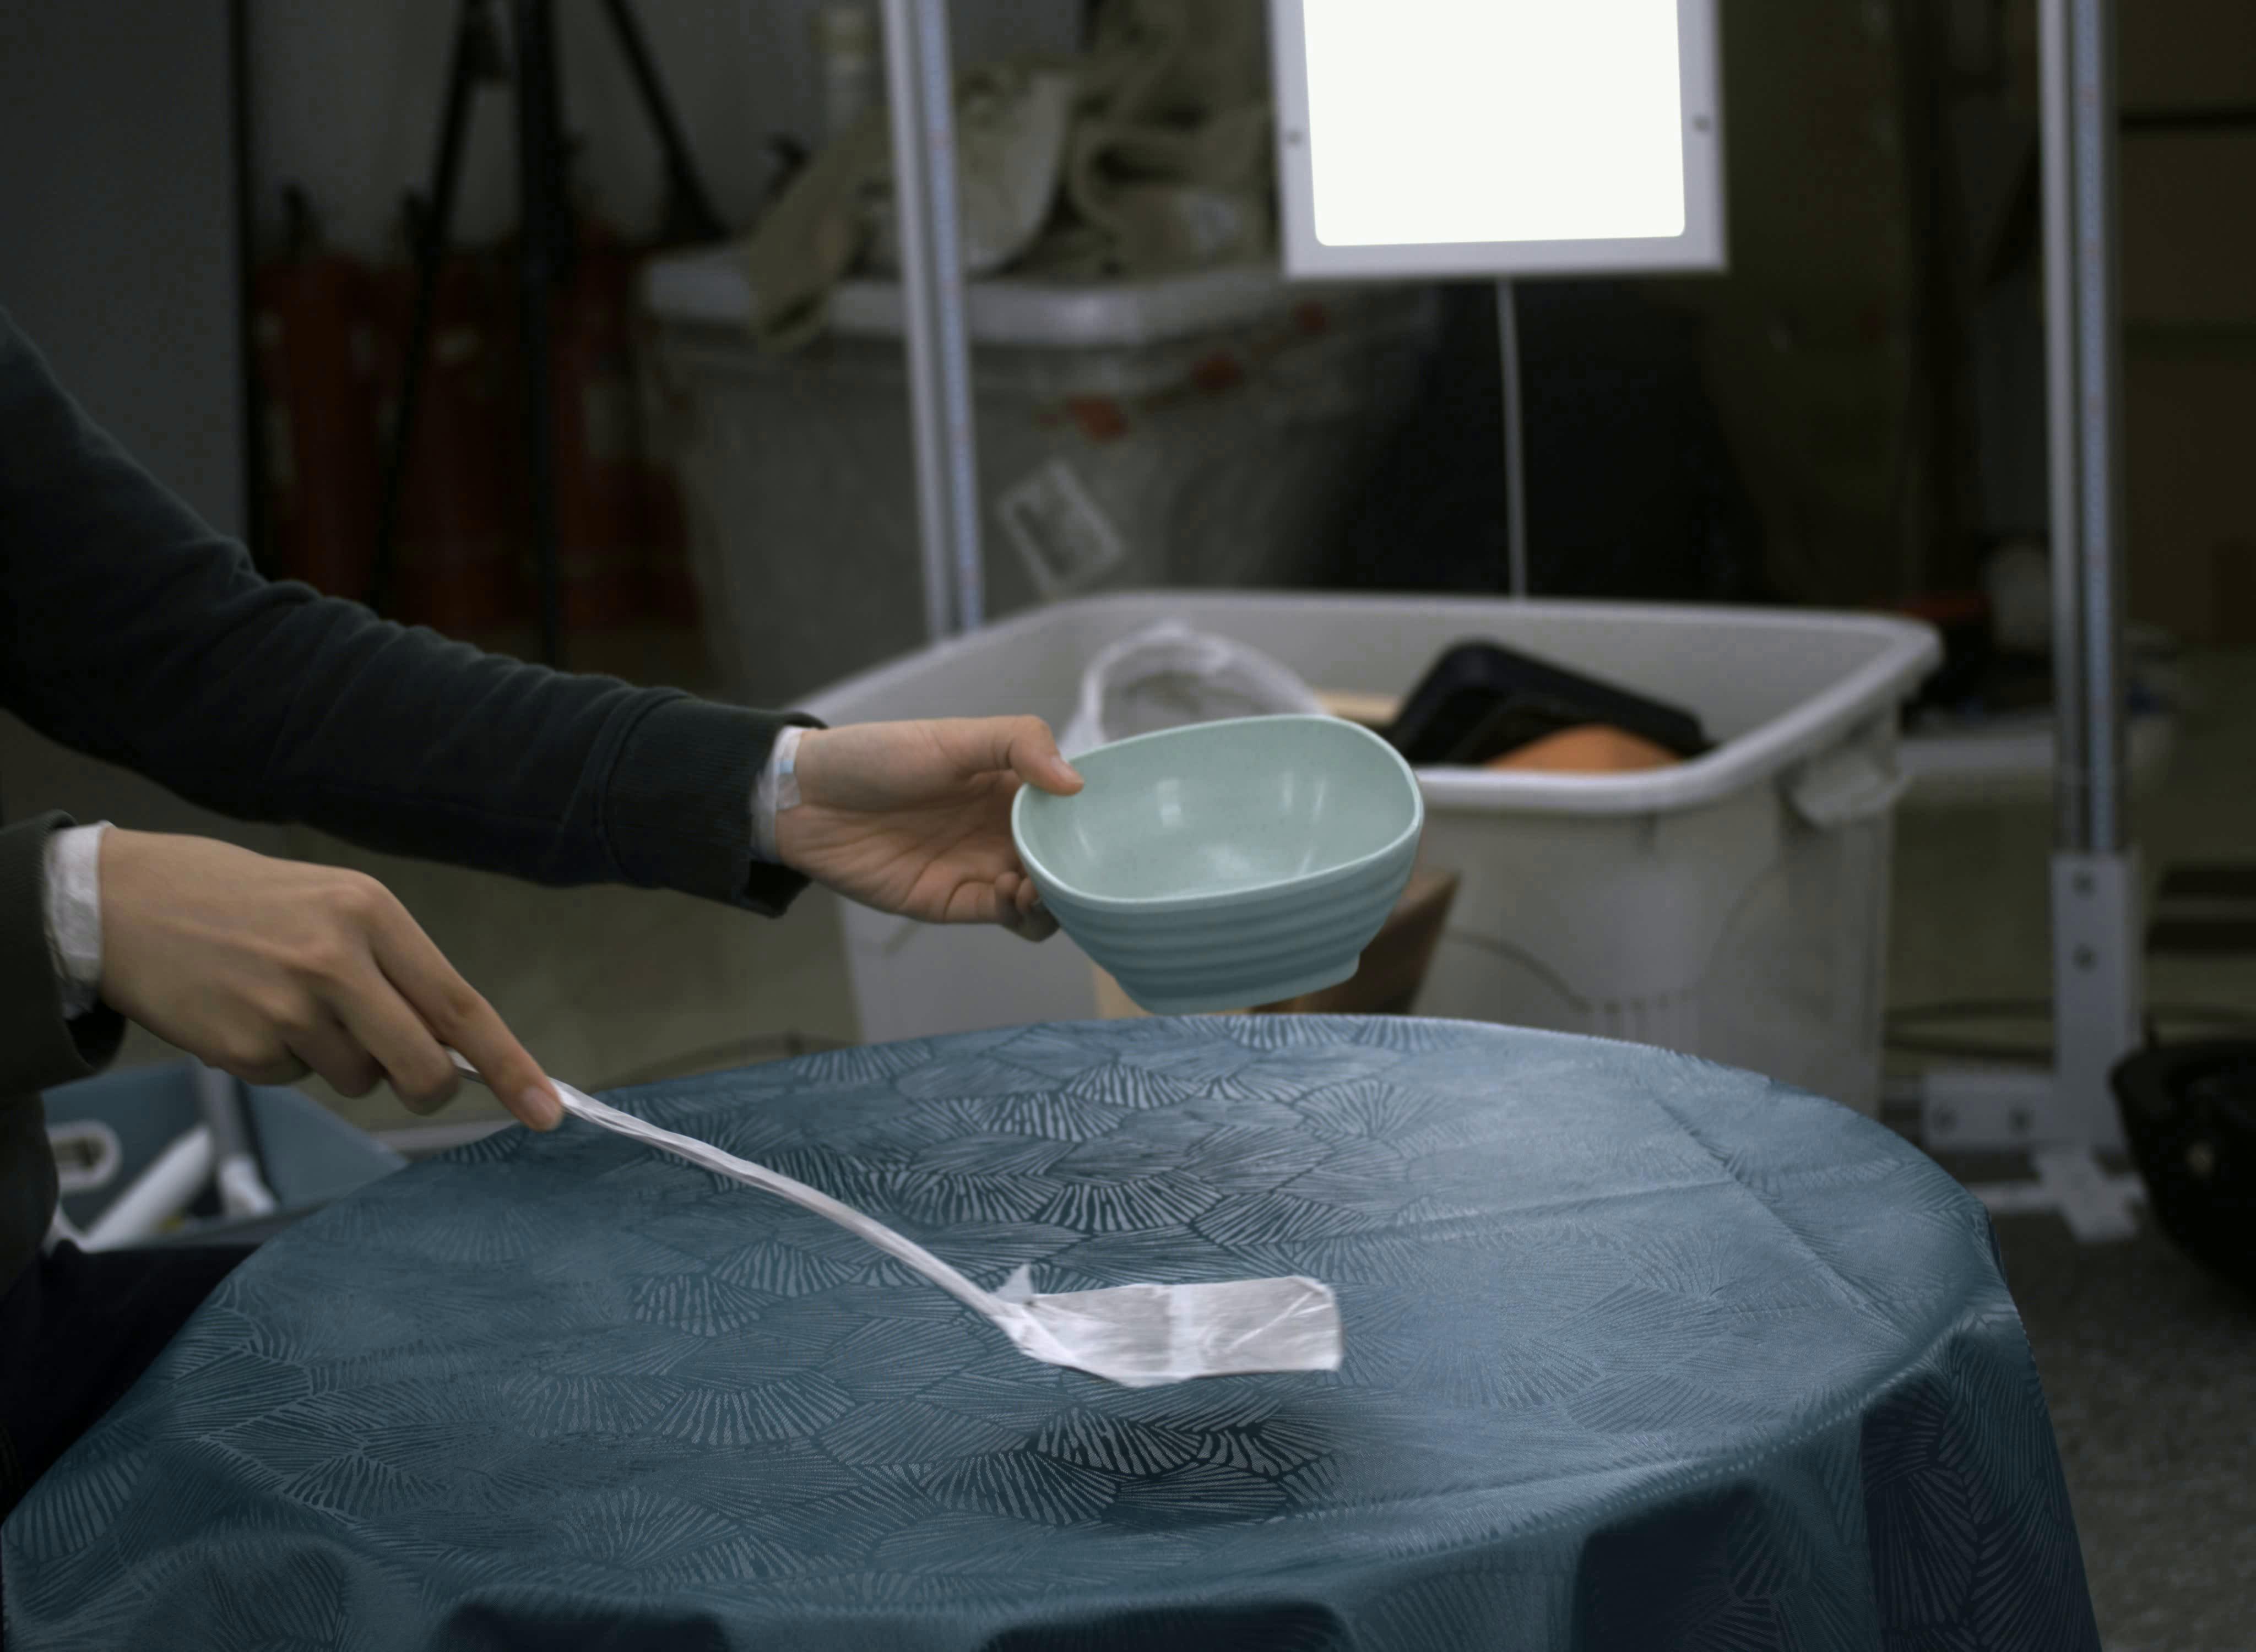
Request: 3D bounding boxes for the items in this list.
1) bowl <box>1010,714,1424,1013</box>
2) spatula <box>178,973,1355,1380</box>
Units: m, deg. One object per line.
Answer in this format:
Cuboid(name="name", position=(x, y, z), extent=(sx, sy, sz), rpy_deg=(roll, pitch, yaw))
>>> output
Cuboid(name="bowl", position=(0.032, 0.018, 1.879), extent=(0.151, 0.059, 0.151), rpy_deg=(-5, 26, 1))
Cuboid(name="spatula", position=(-0.109, 0.099, 1.635), extent=(0.364, 0.045, 0.098), rpy_deg=(23, 13, 1))
